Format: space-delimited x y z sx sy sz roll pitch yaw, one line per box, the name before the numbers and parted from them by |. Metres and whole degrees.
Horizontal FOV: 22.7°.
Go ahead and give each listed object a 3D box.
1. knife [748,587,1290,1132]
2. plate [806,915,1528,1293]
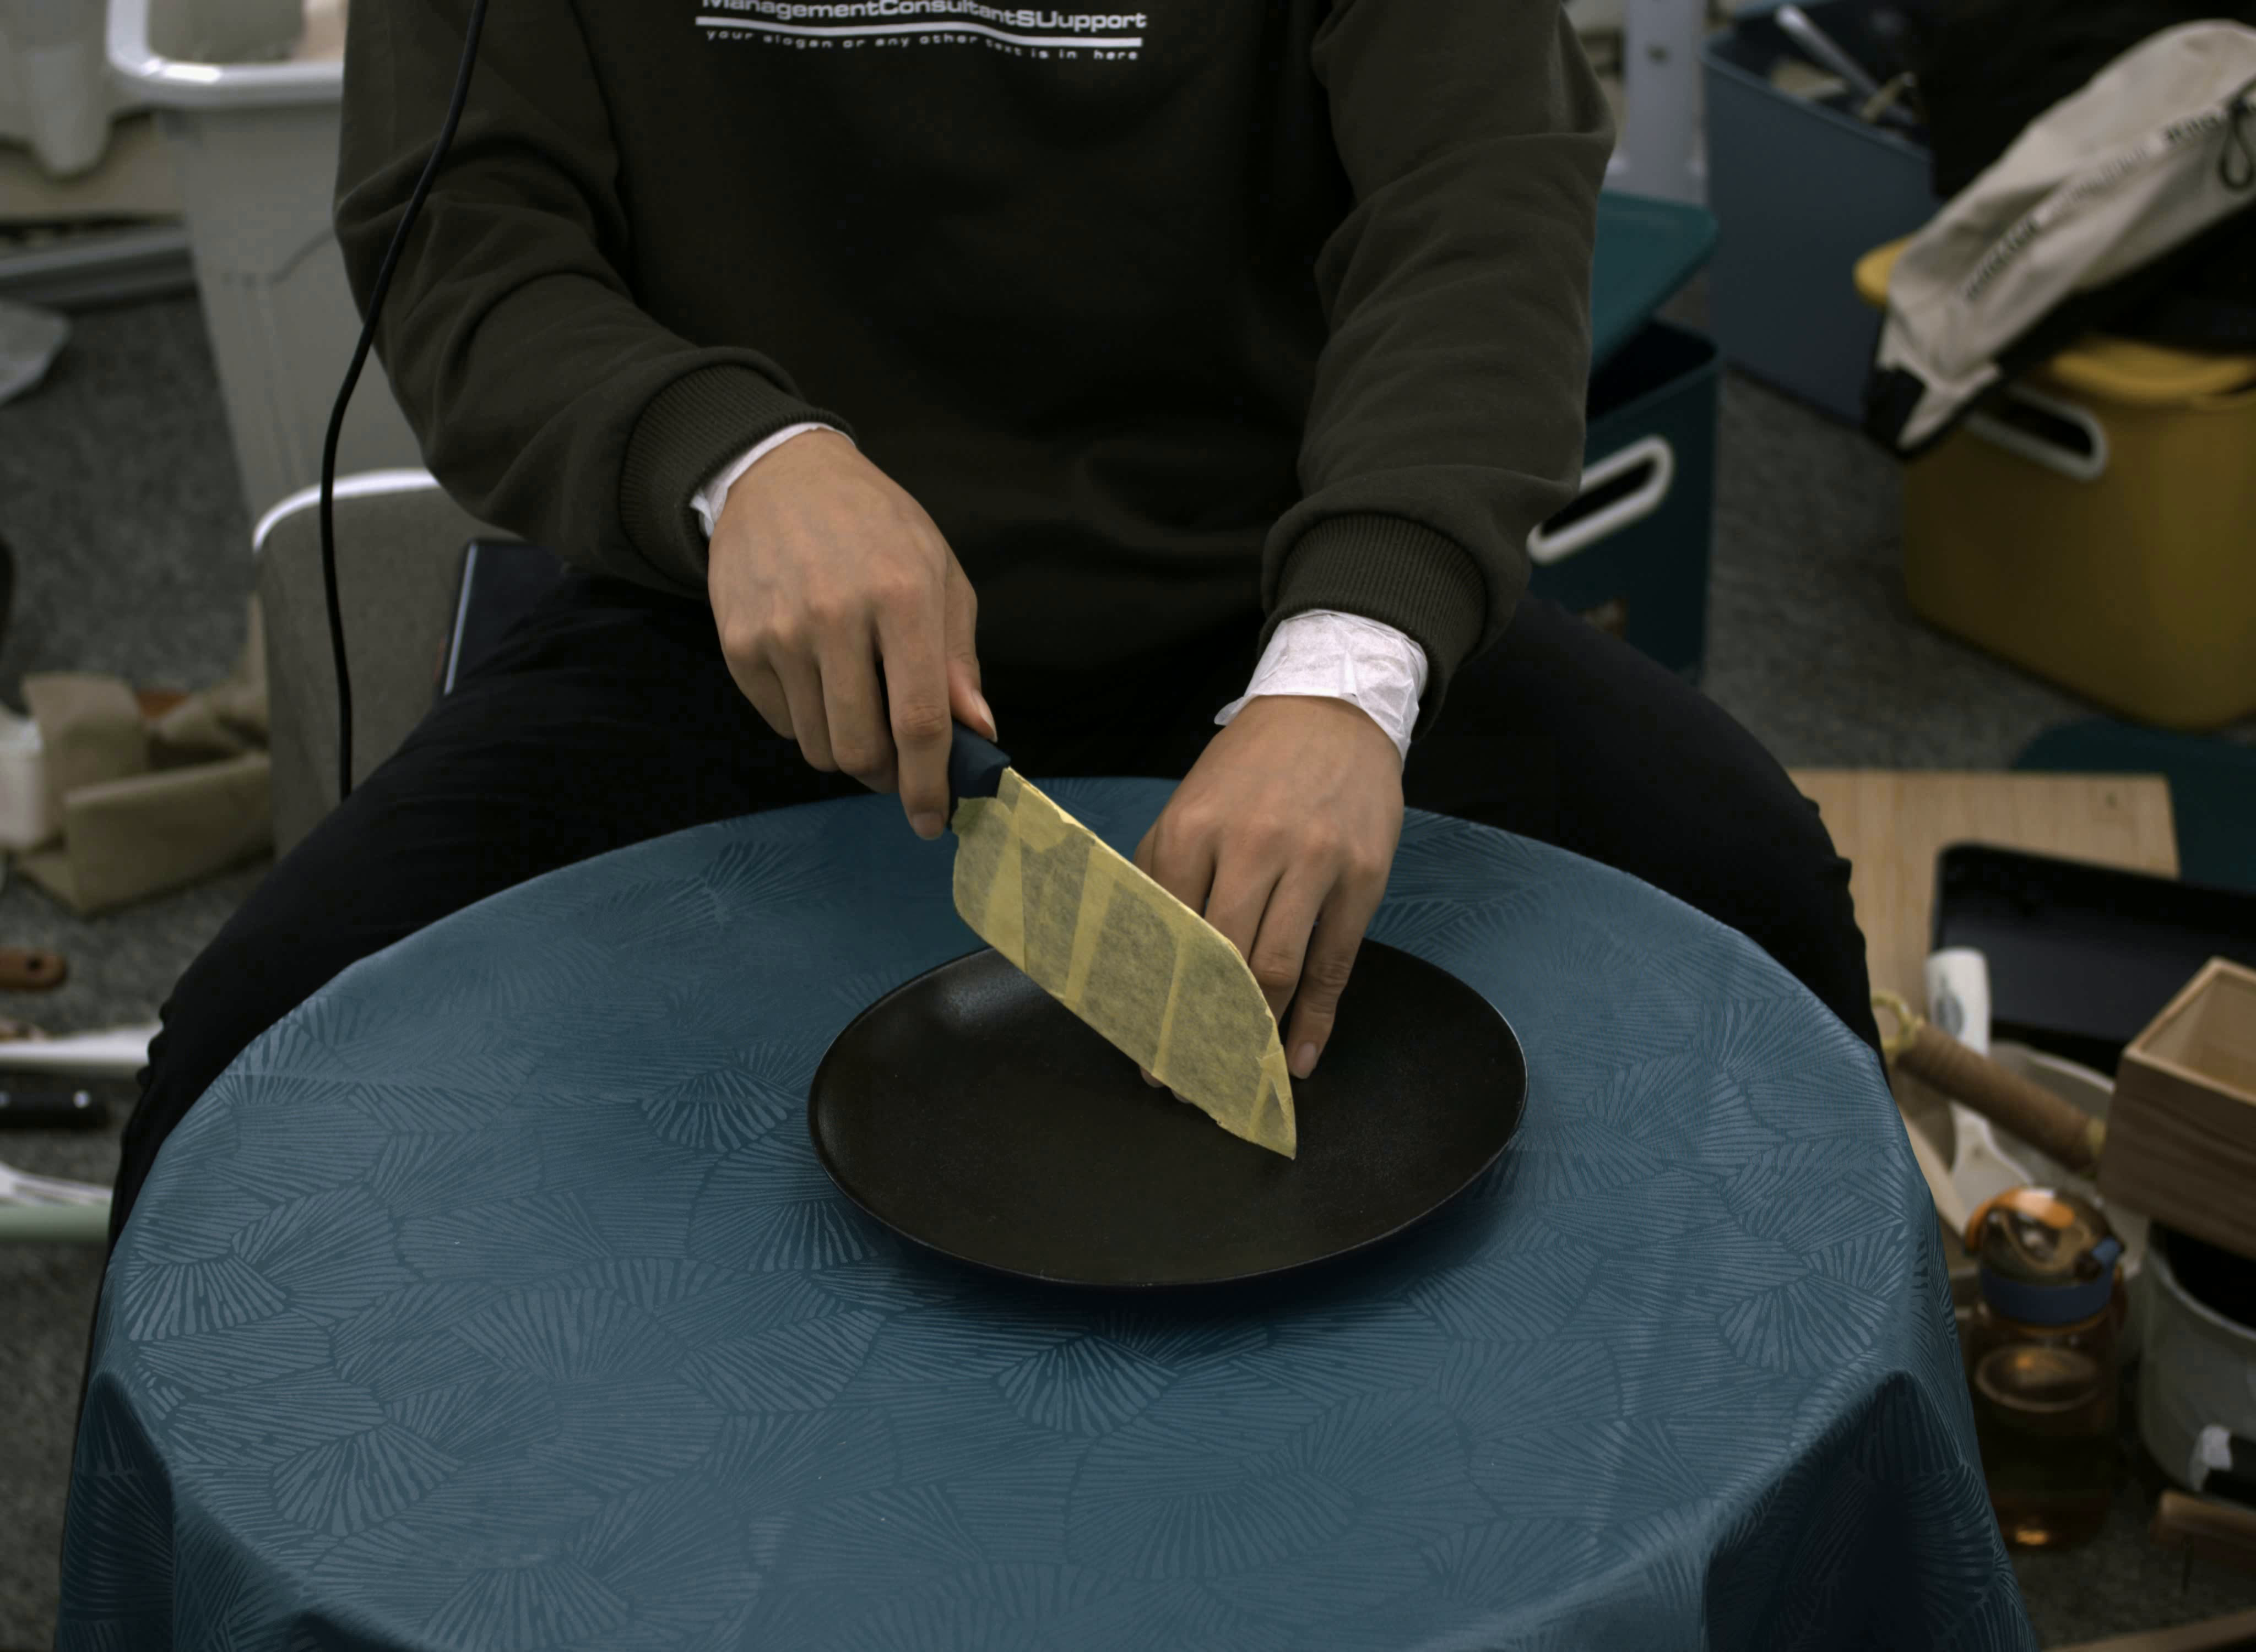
knife | -0.039 0.010 1.923 0.027 0.080 0.291 -17 47 -40
plate | 0.013 0.097 1.883 0.243 0.023 0.248 -2 27 1
